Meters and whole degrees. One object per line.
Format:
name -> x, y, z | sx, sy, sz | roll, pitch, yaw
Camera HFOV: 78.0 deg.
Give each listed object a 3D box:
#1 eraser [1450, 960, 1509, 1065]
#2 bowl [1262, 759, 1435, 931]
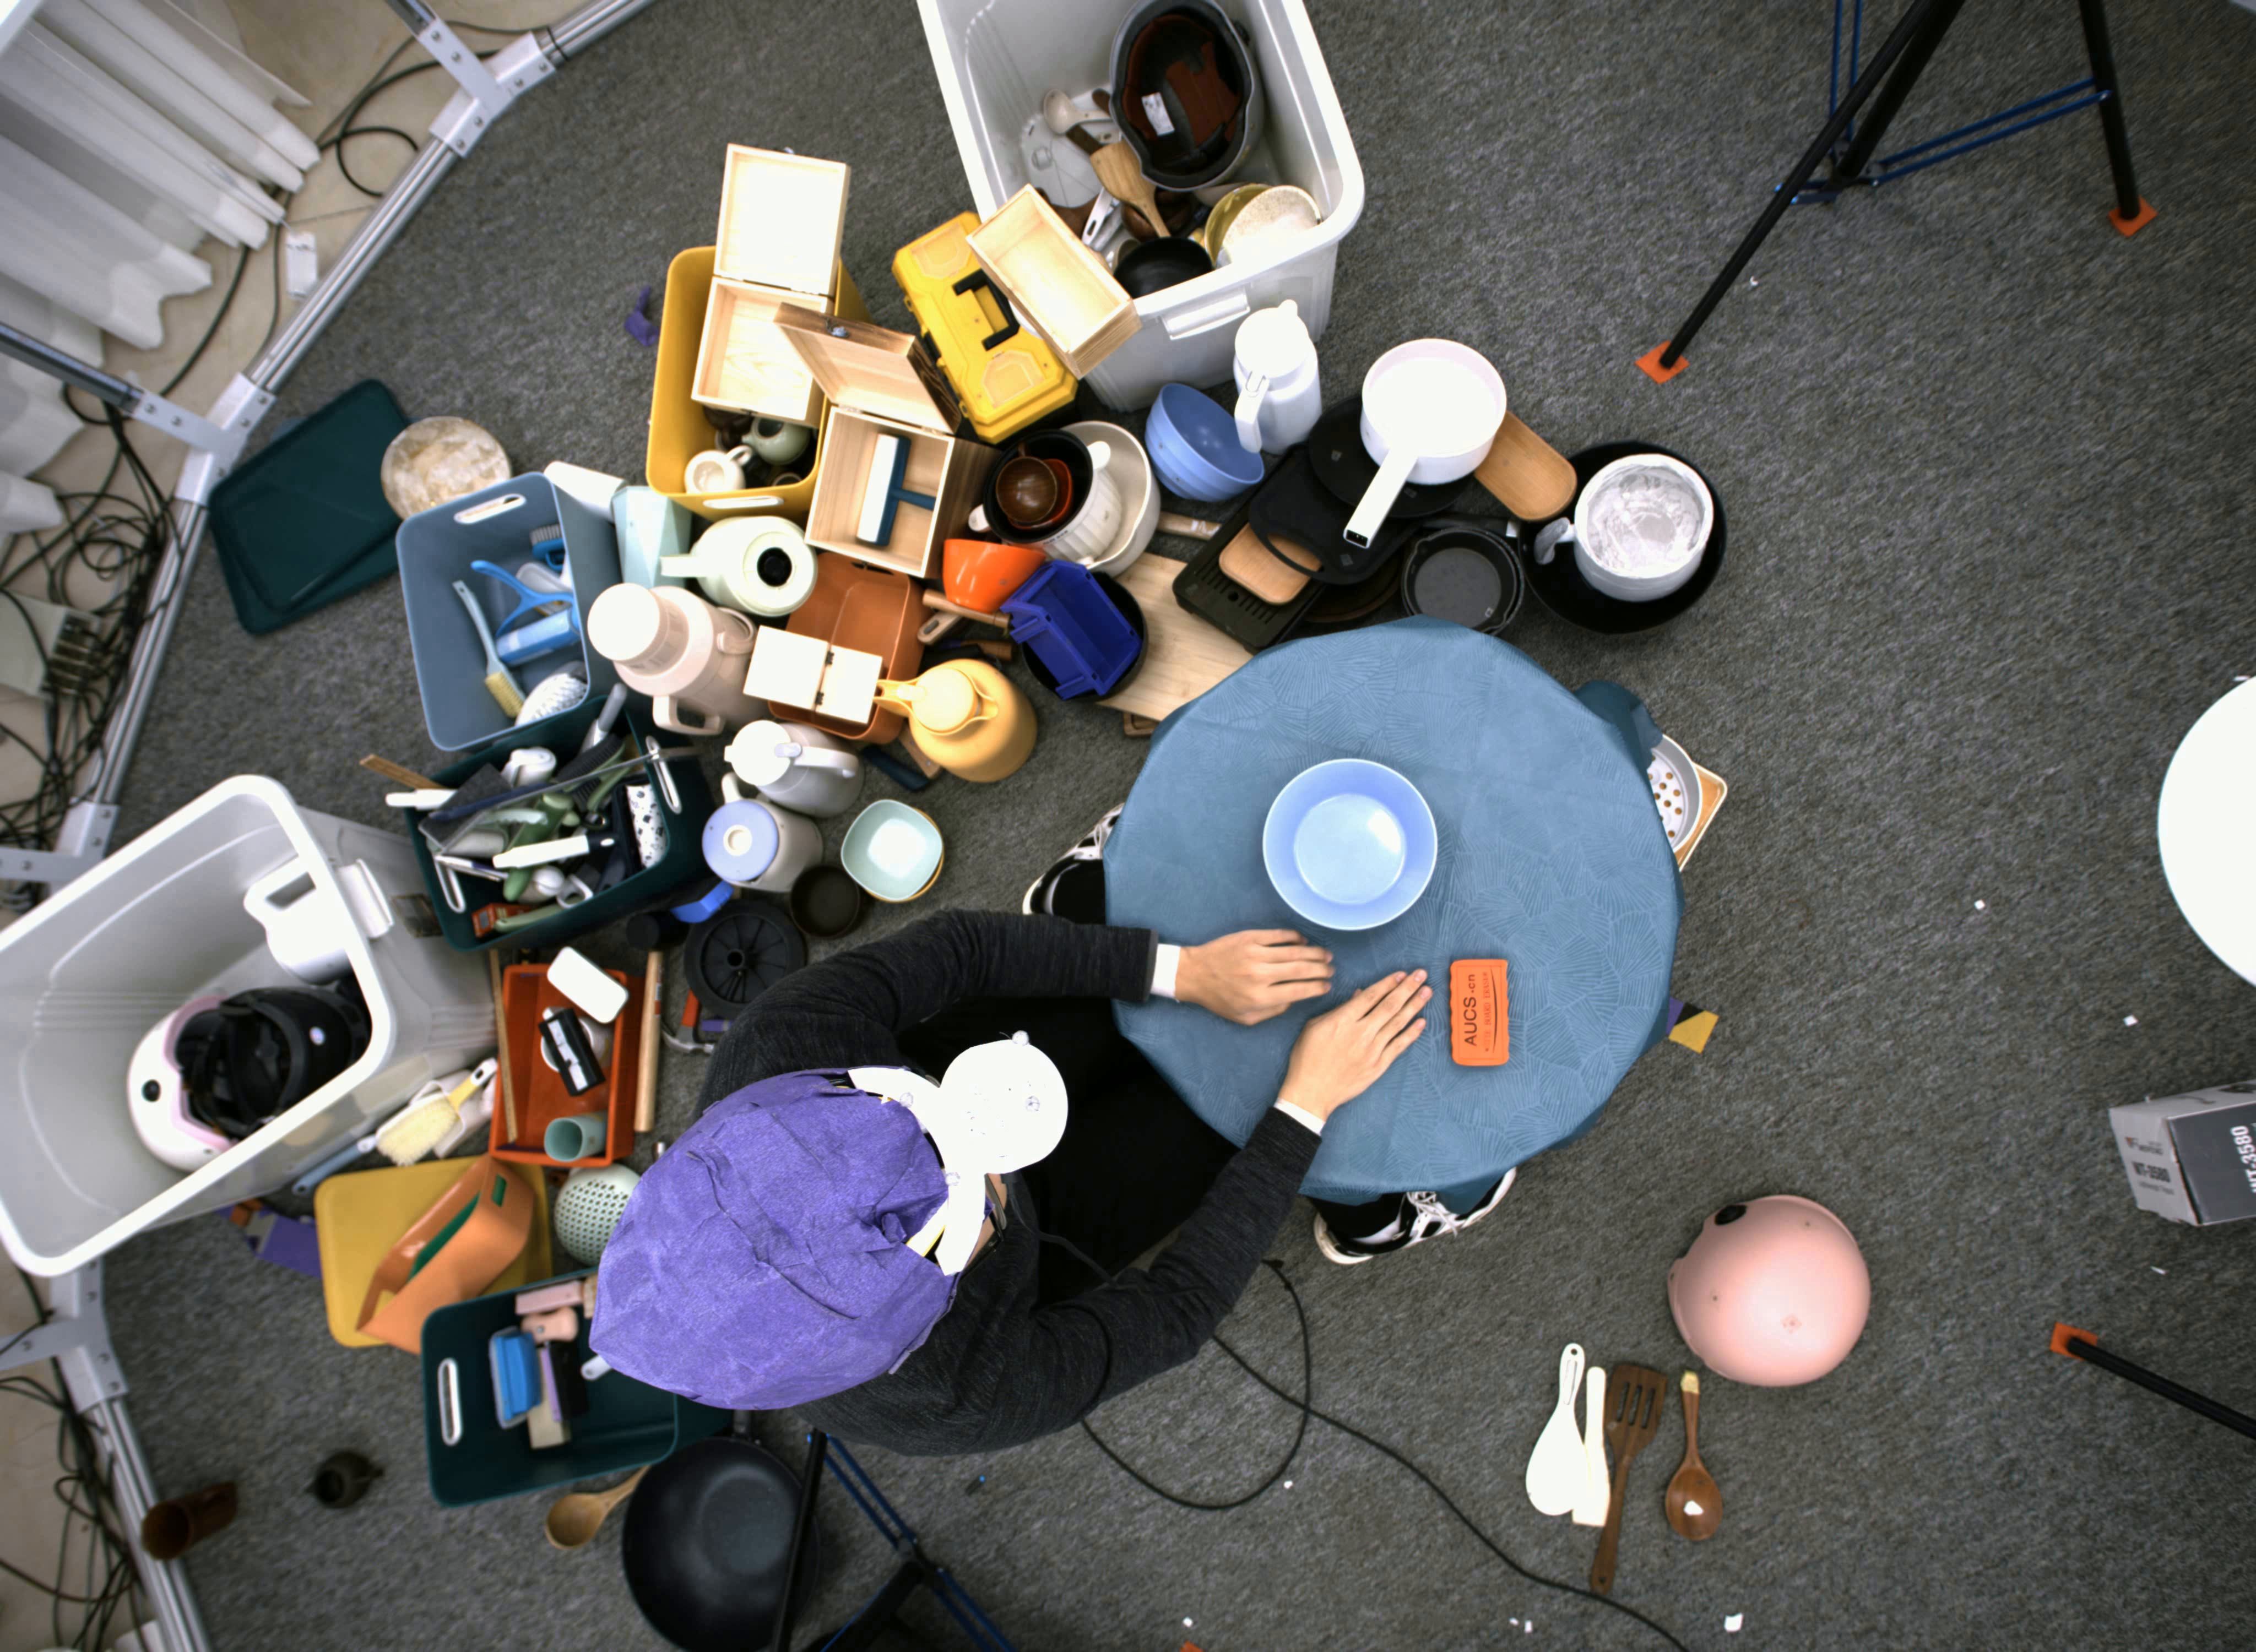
eraser -> 0.363, 0.190, 1.424 | 0.059, 0.023, 0.107 | 0, 87, 9
bowl -> 0.228, 0.021, 1.436 | 0.177, 0.070, 0.175 | -1, 87, 10
